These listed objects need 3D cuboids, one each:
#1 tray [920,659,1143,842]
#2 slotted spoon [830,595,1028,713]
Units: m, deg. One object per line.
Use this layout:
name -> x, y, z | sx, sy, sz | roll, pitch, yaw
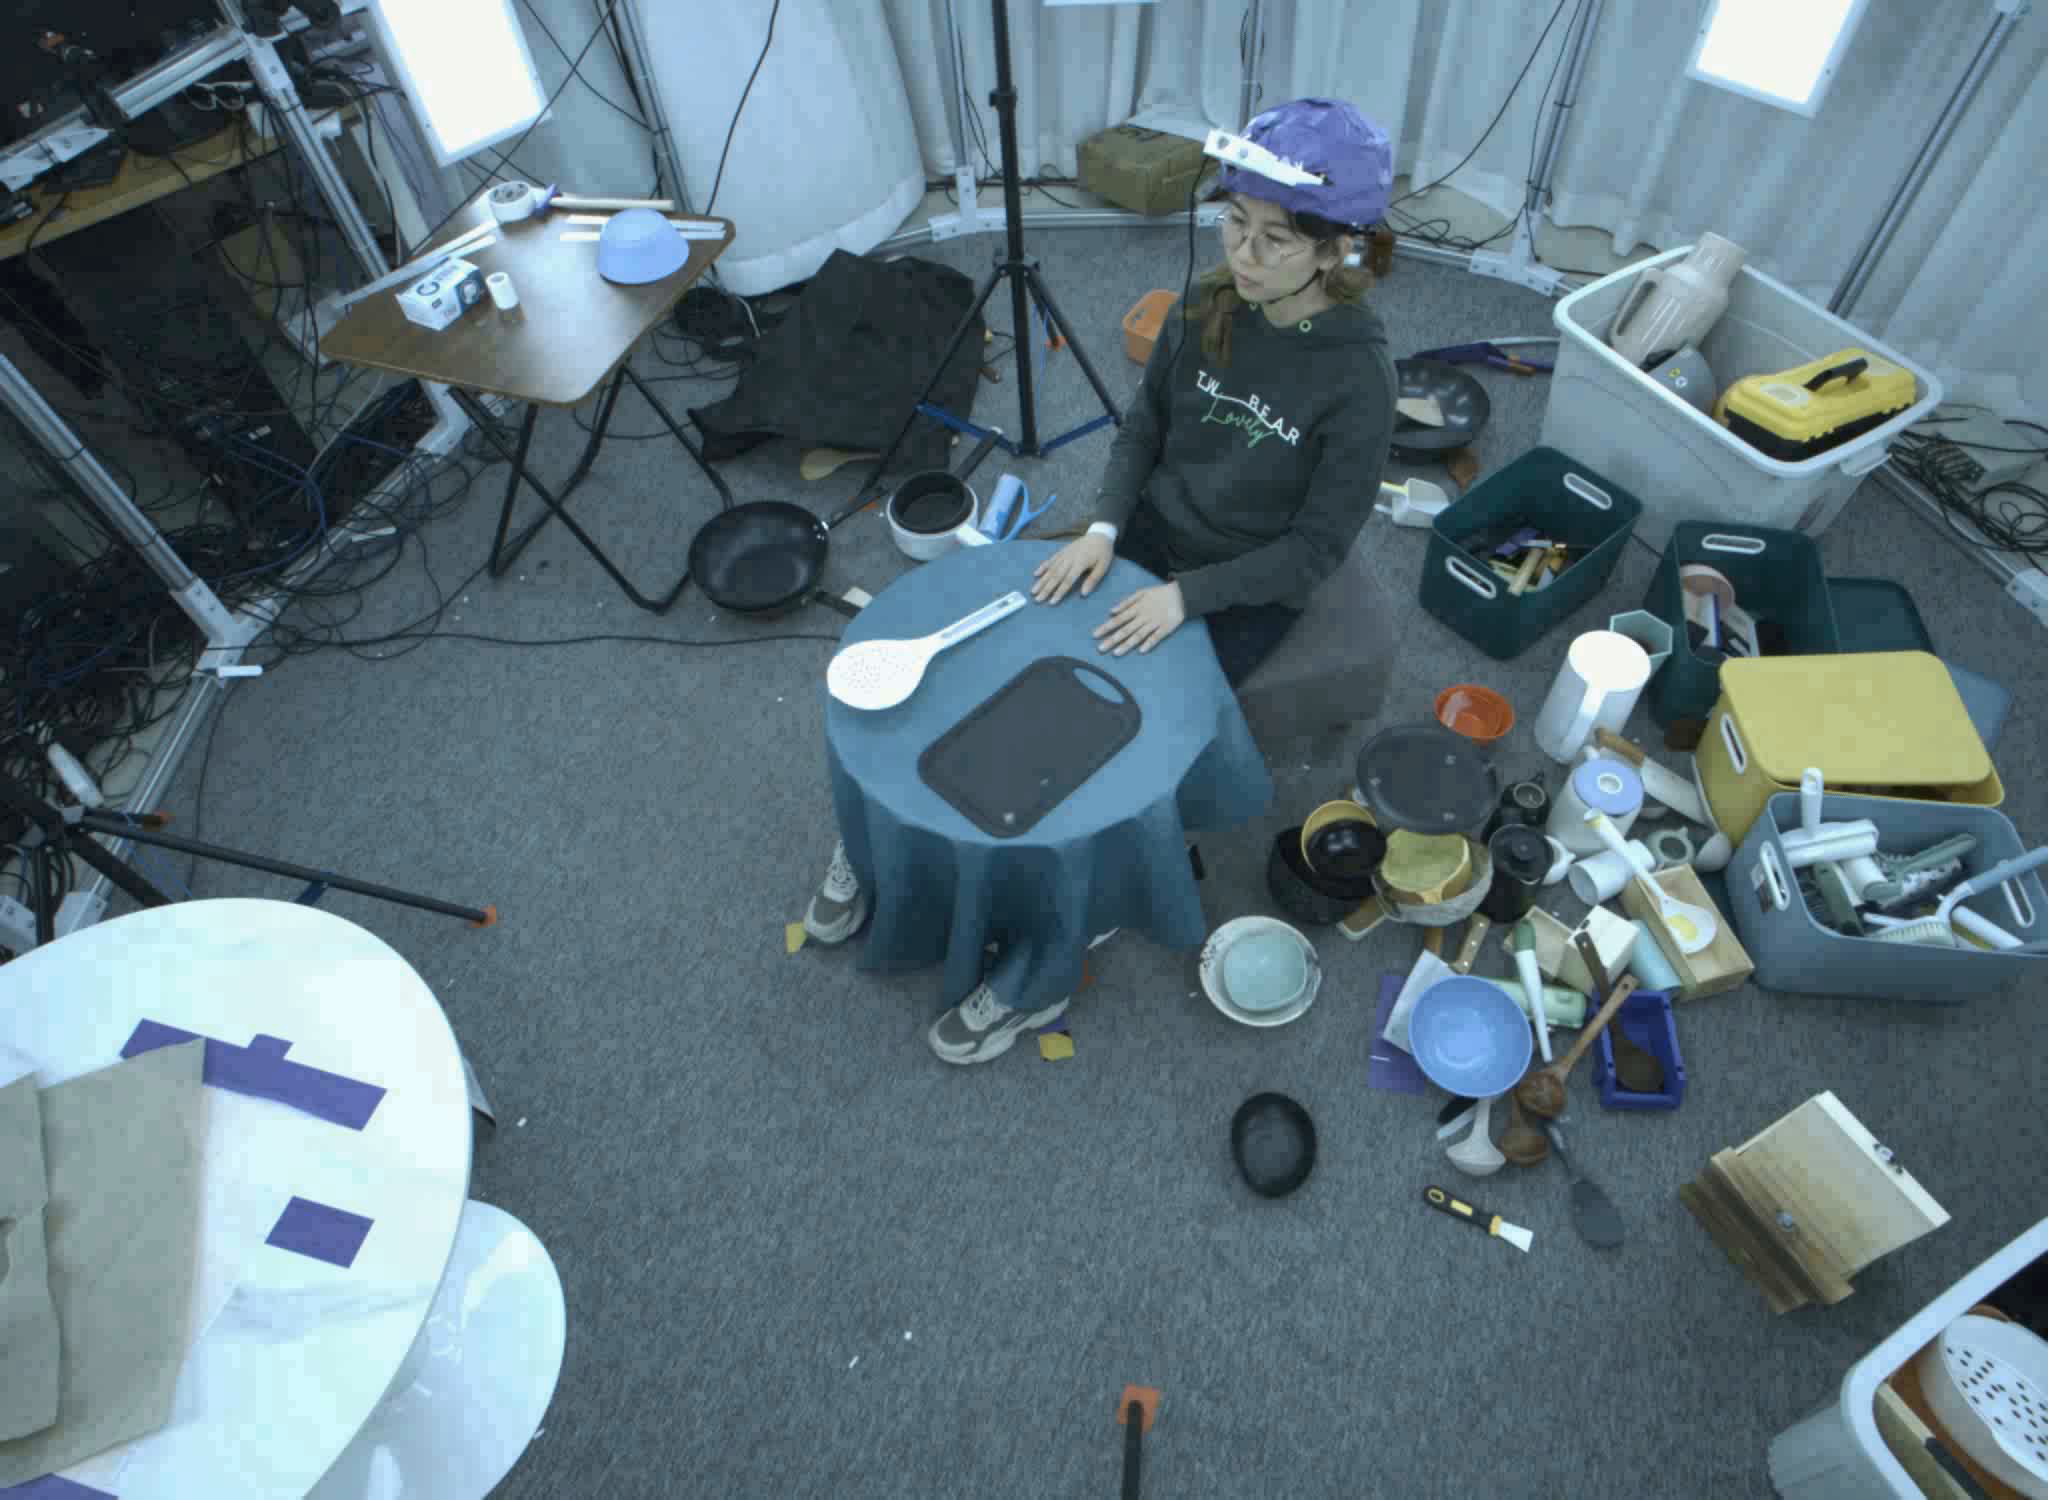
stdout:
tray -> 0.018, -0.012, 1.802 | 0.207, 0.010, 0.328 | 38, 64, 24
slotted spoon -> -0.138, -0.156, 1.883 | 0.352, 0.046, 0.133 | -34, 63, -21
